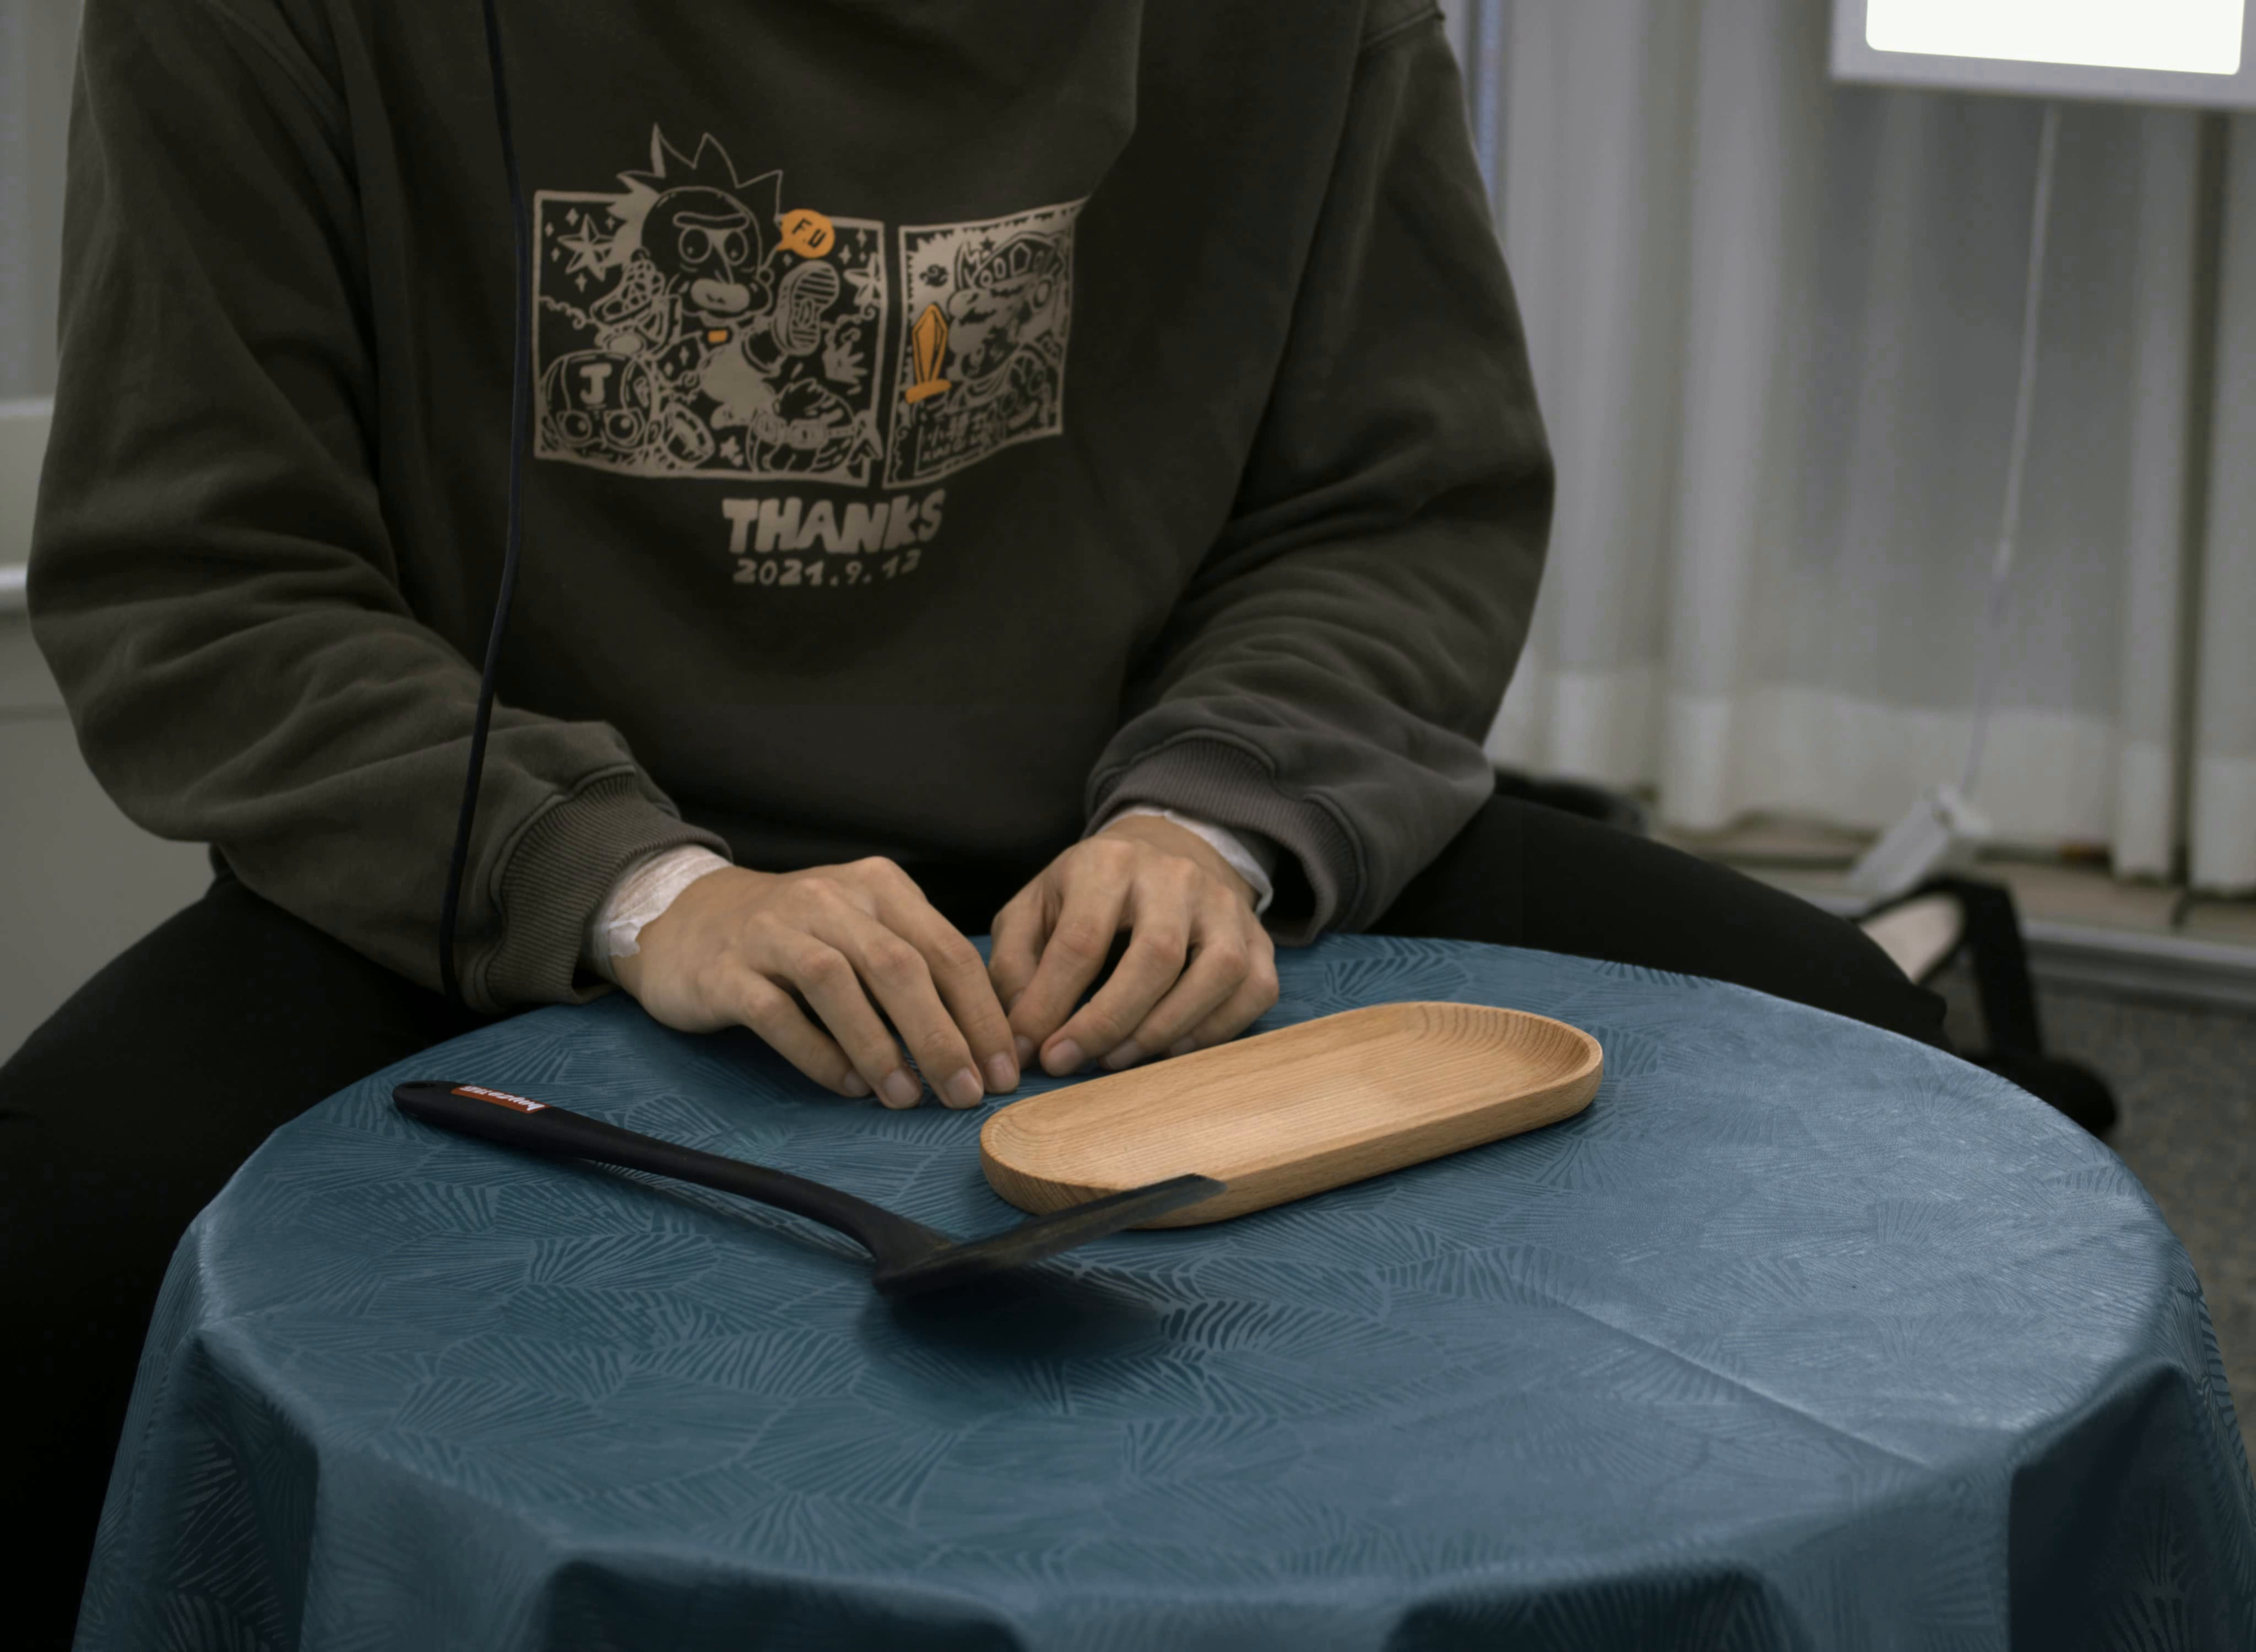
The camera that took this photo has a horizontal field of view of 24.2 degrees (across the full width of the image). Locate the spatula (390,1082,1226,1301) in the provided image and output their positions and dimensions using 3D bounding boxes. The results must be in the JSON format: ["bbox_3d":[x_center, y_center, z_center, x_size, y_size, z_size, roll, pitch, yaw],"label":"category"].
[{"bbox_3d":[-0.117,0.102,1.597,0.322,0.040,0.100,14,19,40],"label":"spatula"}]

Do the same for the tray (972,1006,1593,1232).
[{"bbox_3d":[0.052,0.092,1.677,0.232,0.020,0.100,-14,21,-39],"label":"tray"}]
